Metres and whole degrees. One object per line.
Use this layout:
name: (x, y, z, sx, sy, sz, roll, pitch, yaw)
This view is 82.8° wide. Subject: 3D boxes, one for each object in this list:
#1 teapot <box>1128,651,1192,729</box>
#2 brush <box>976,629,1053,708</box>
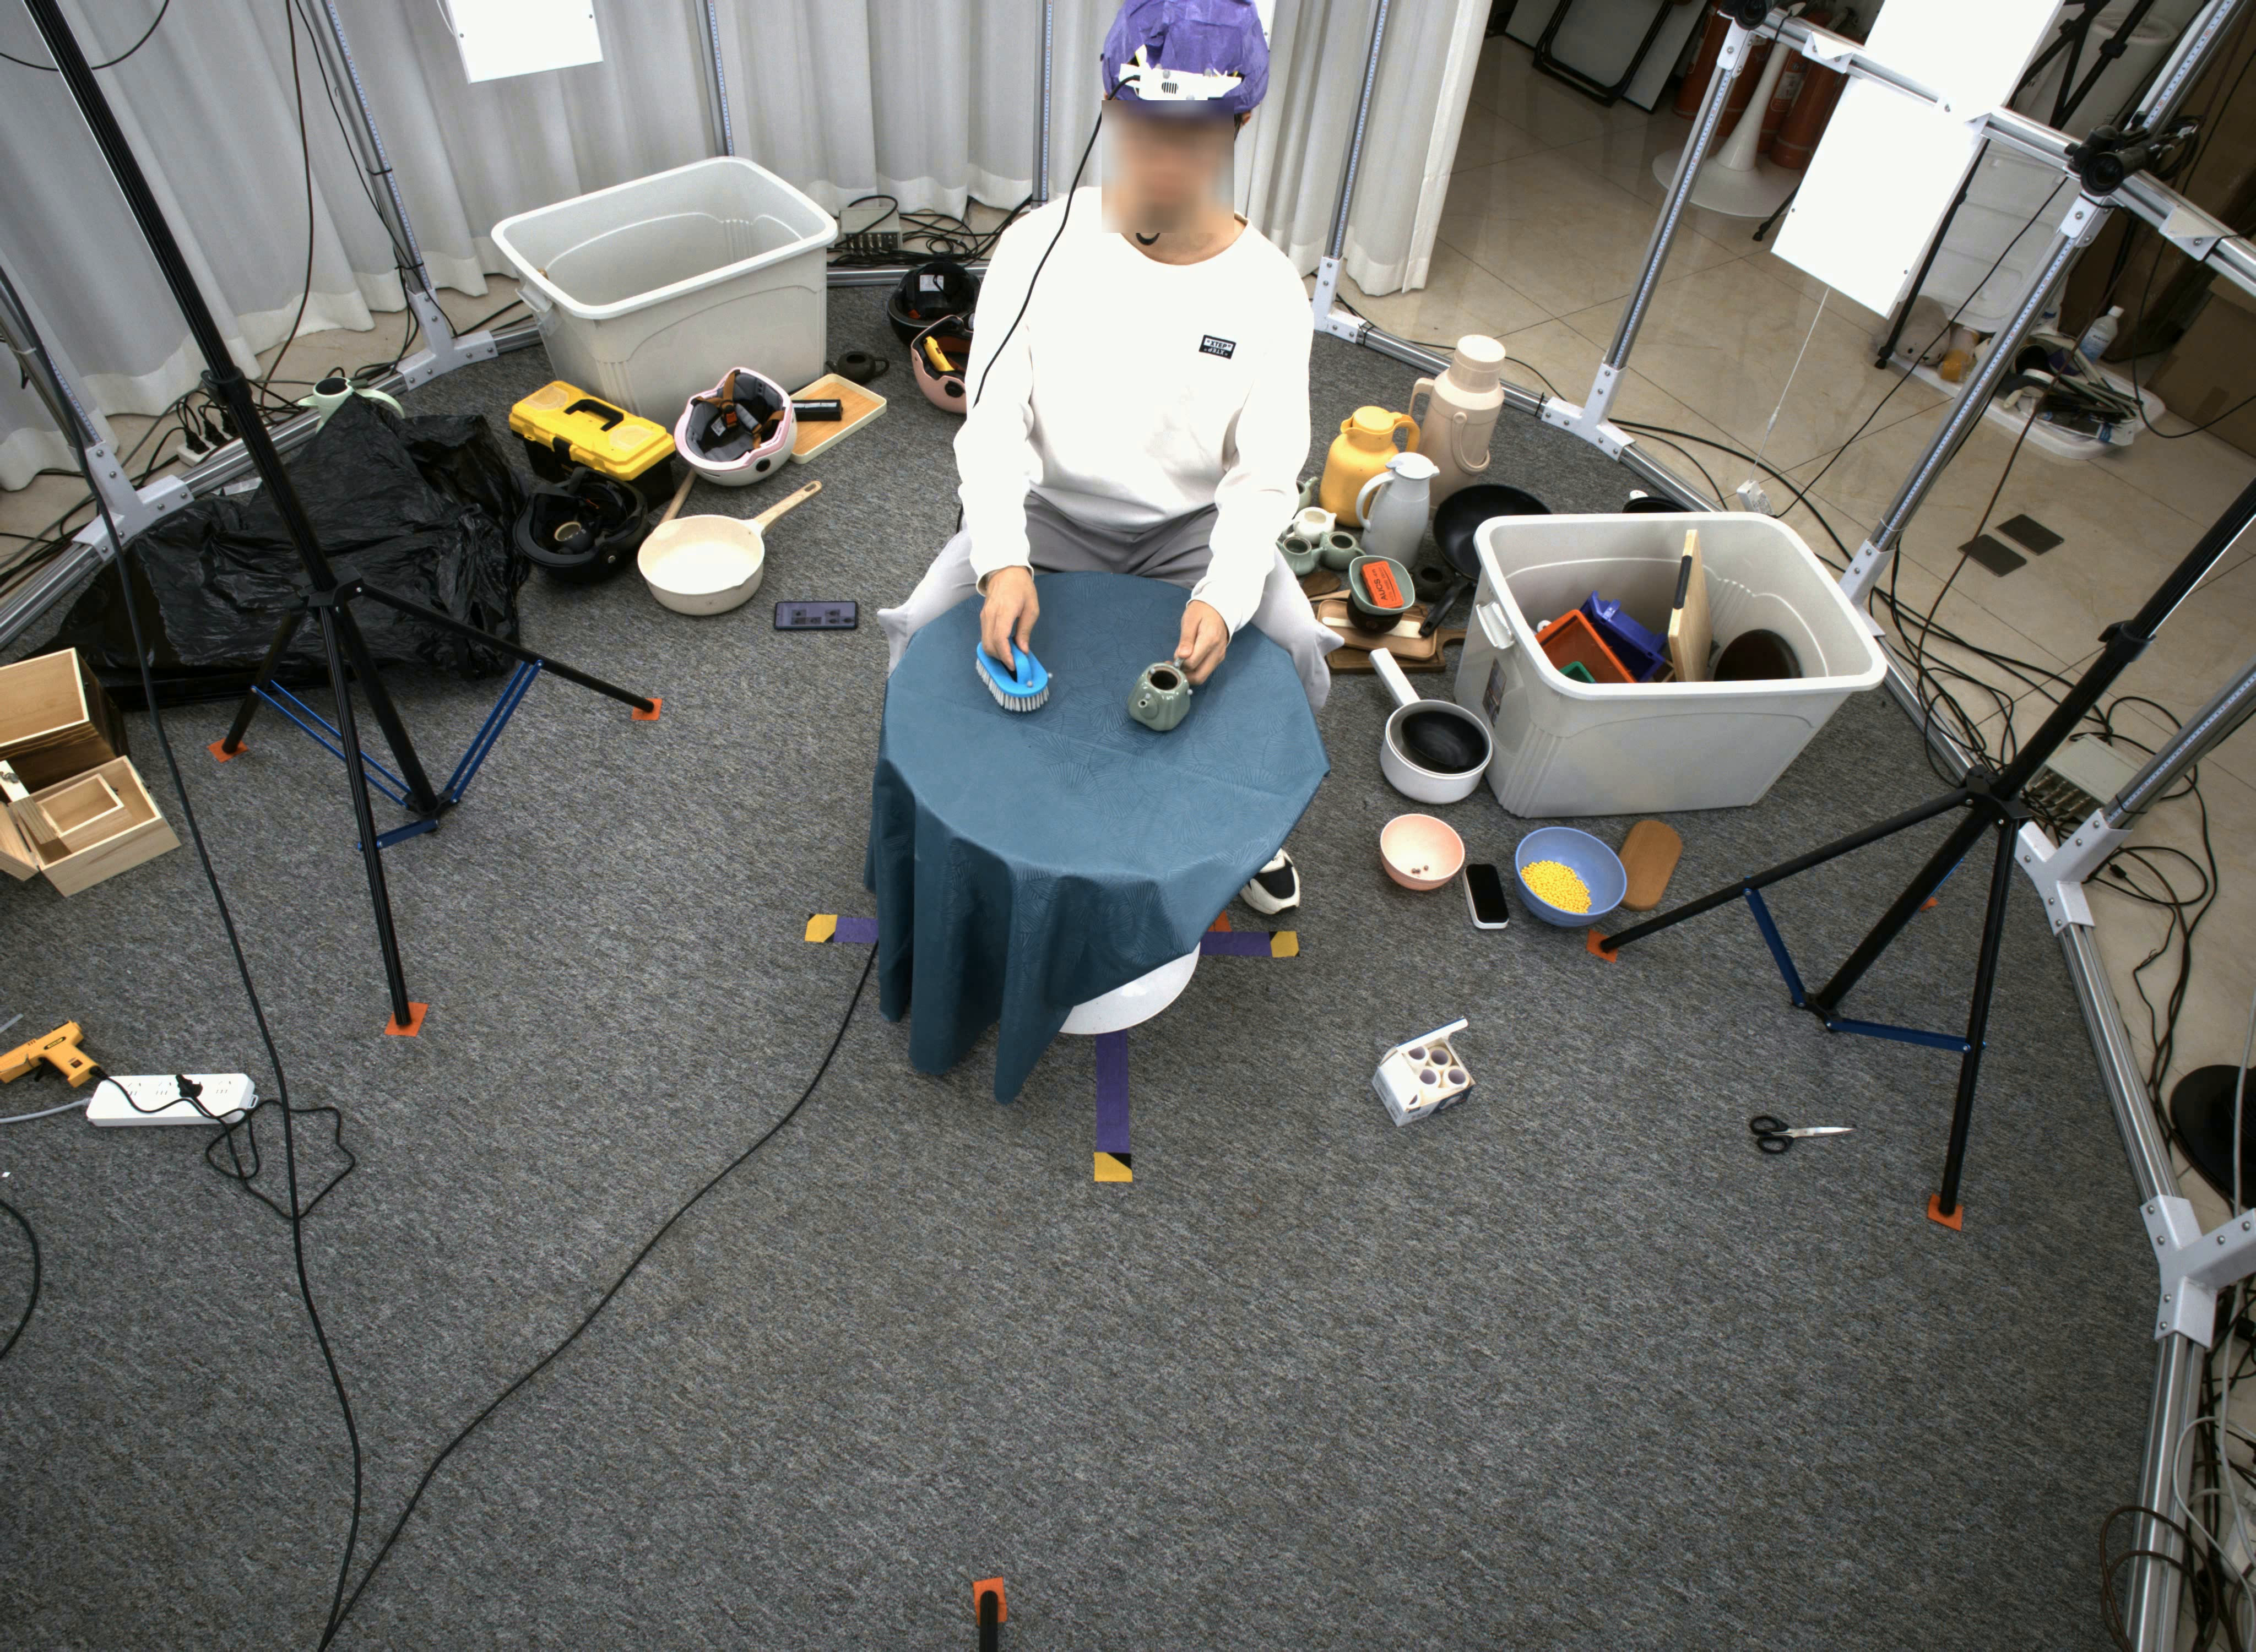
teapot: (0.047, -0.185, 1.777, 0.080, 0.073, 0.134, 30, 54, 13)
brush: (-0.162, -0.232, 1.805, 0.084, 0.062, 0.145, -20, 49, -16)
